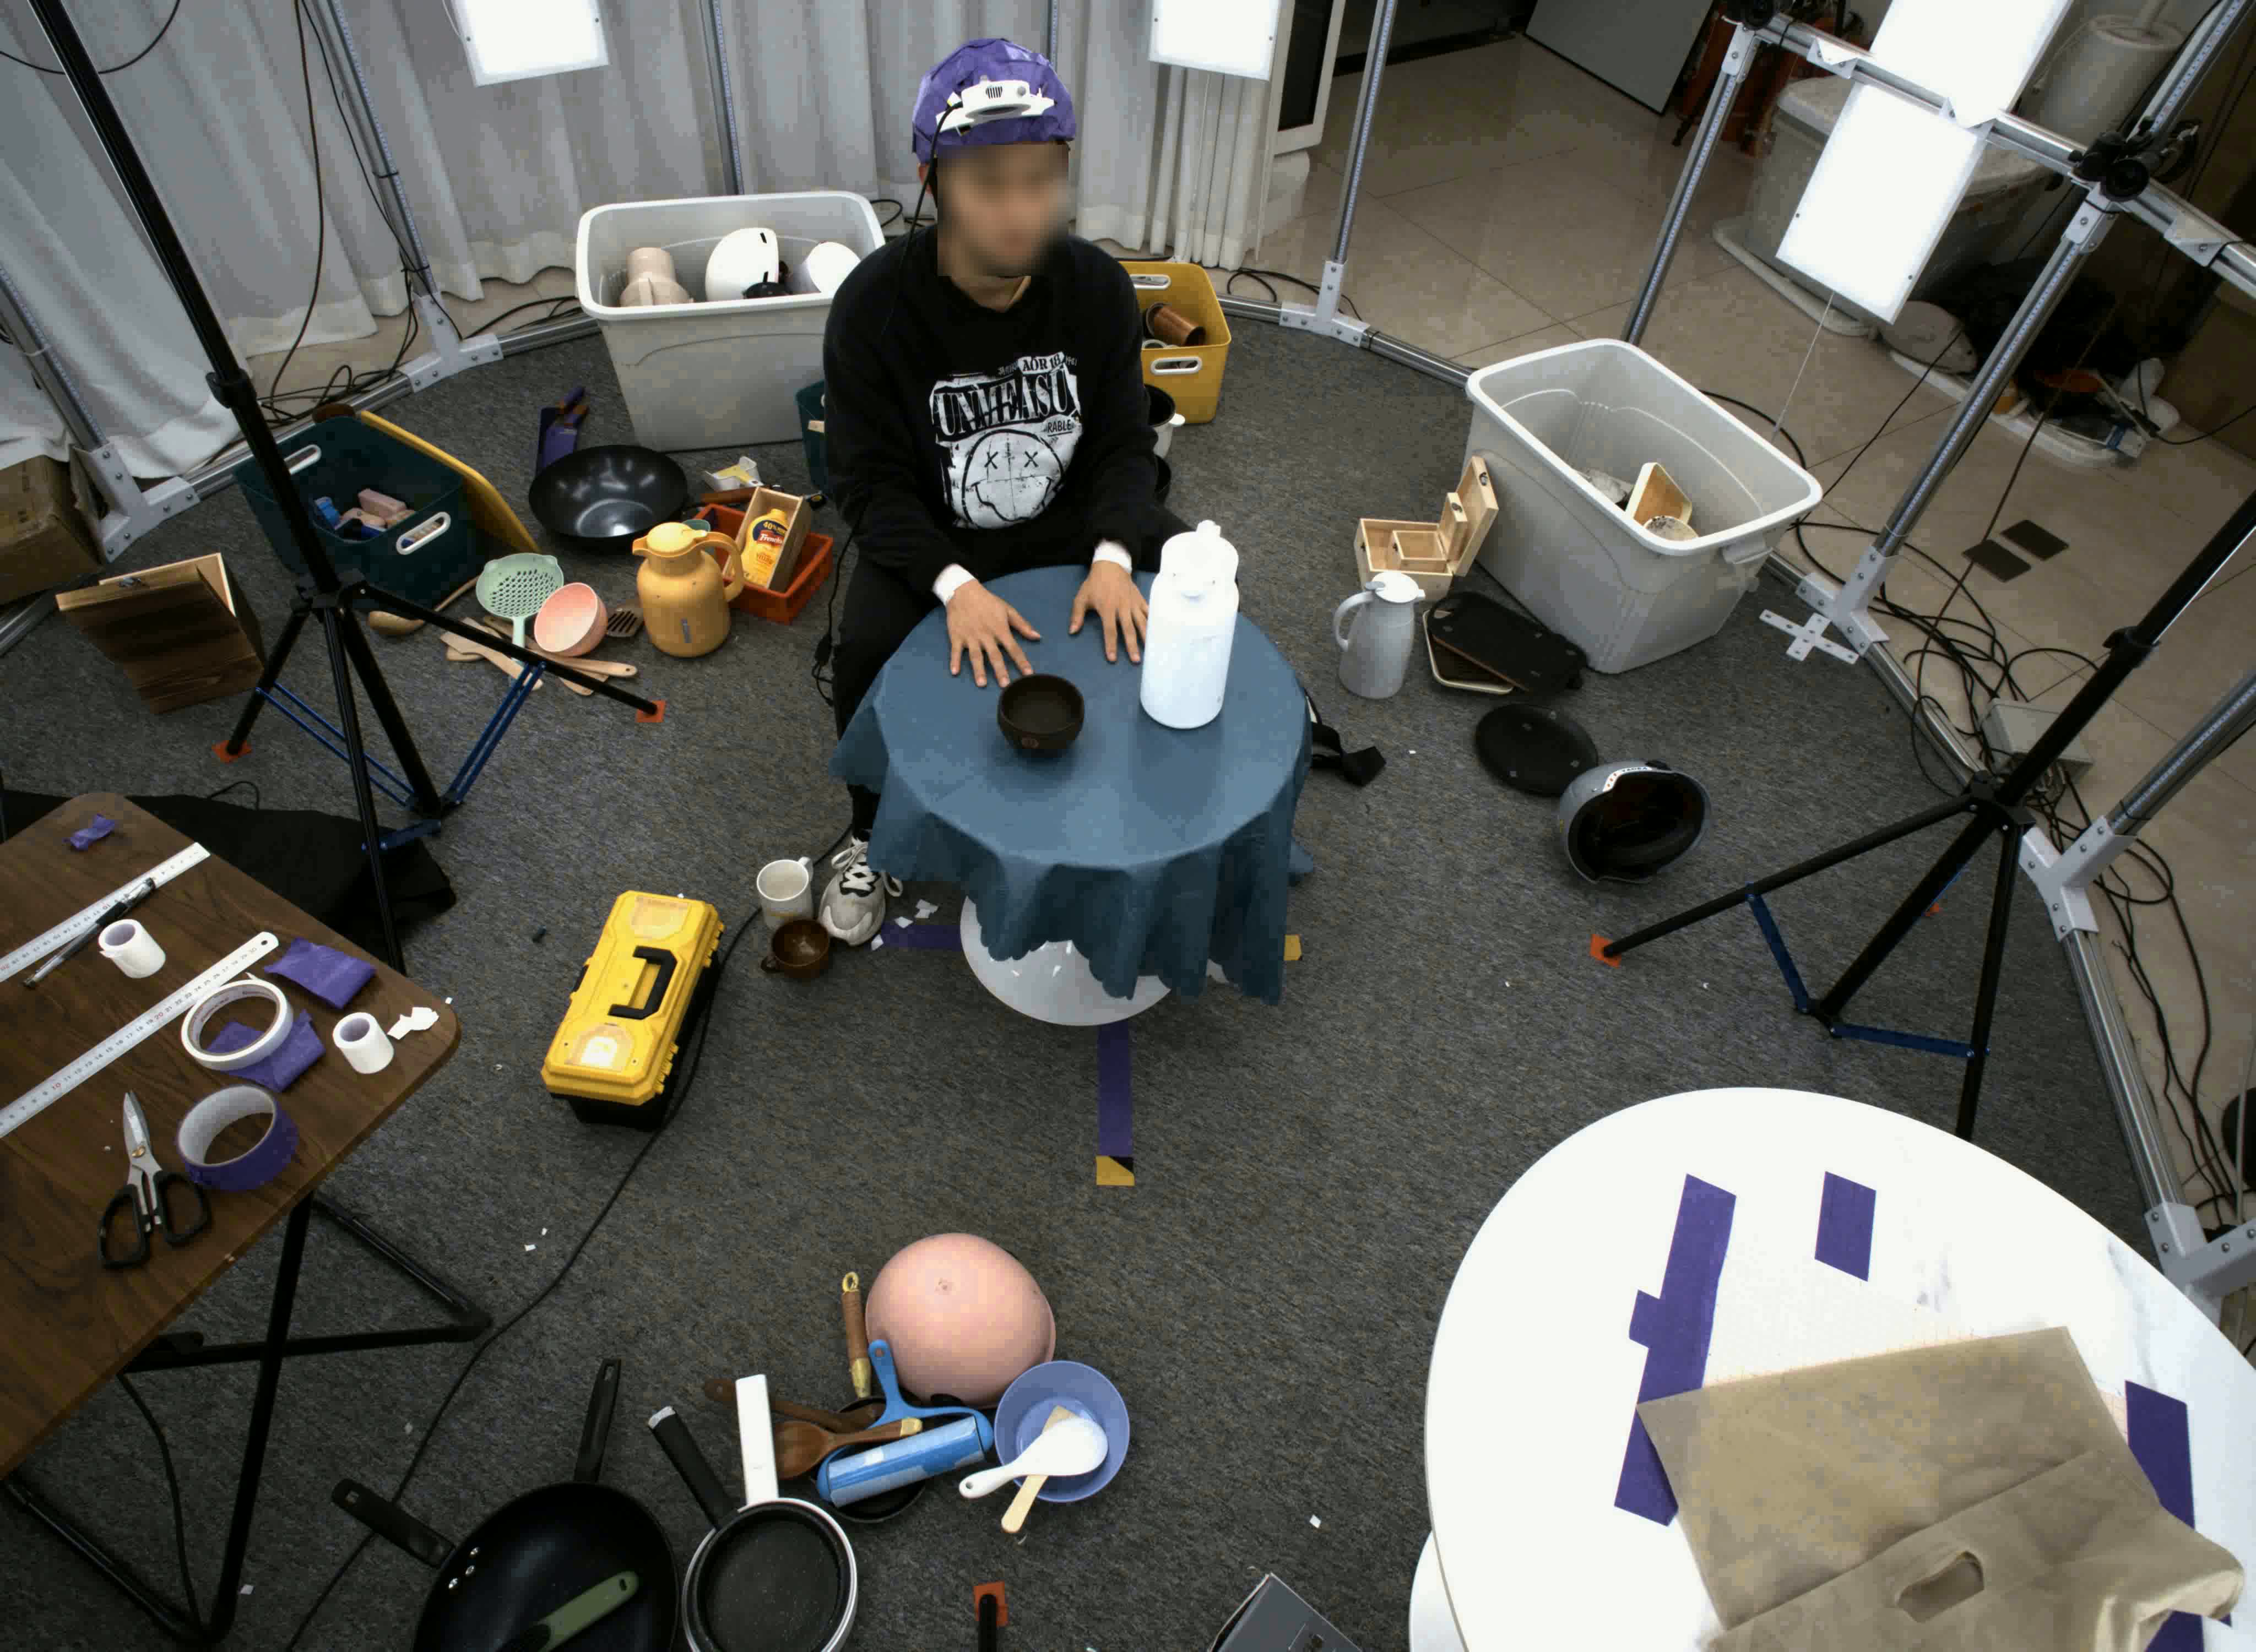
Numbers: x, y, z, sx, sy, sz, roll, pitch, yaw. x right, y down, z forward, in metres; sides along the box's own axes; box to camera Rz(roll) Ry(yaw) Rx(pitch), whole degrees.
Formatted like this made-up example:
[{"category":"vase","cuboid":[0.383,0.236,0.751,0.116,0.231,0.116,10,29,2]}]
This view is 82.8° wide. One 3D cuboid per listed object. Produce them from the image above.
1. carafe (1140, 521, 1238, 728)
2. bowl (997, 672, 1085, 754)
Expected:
[{"category":"carafe","cuboid":[0.084,-0.275,1.741,0.124,0.262,0.177,9,49,6]},{"category":"bowl","cuboid":[-0.118,-0.145,1.740,0.118,0.068,0.121,1,49,-2]}]
